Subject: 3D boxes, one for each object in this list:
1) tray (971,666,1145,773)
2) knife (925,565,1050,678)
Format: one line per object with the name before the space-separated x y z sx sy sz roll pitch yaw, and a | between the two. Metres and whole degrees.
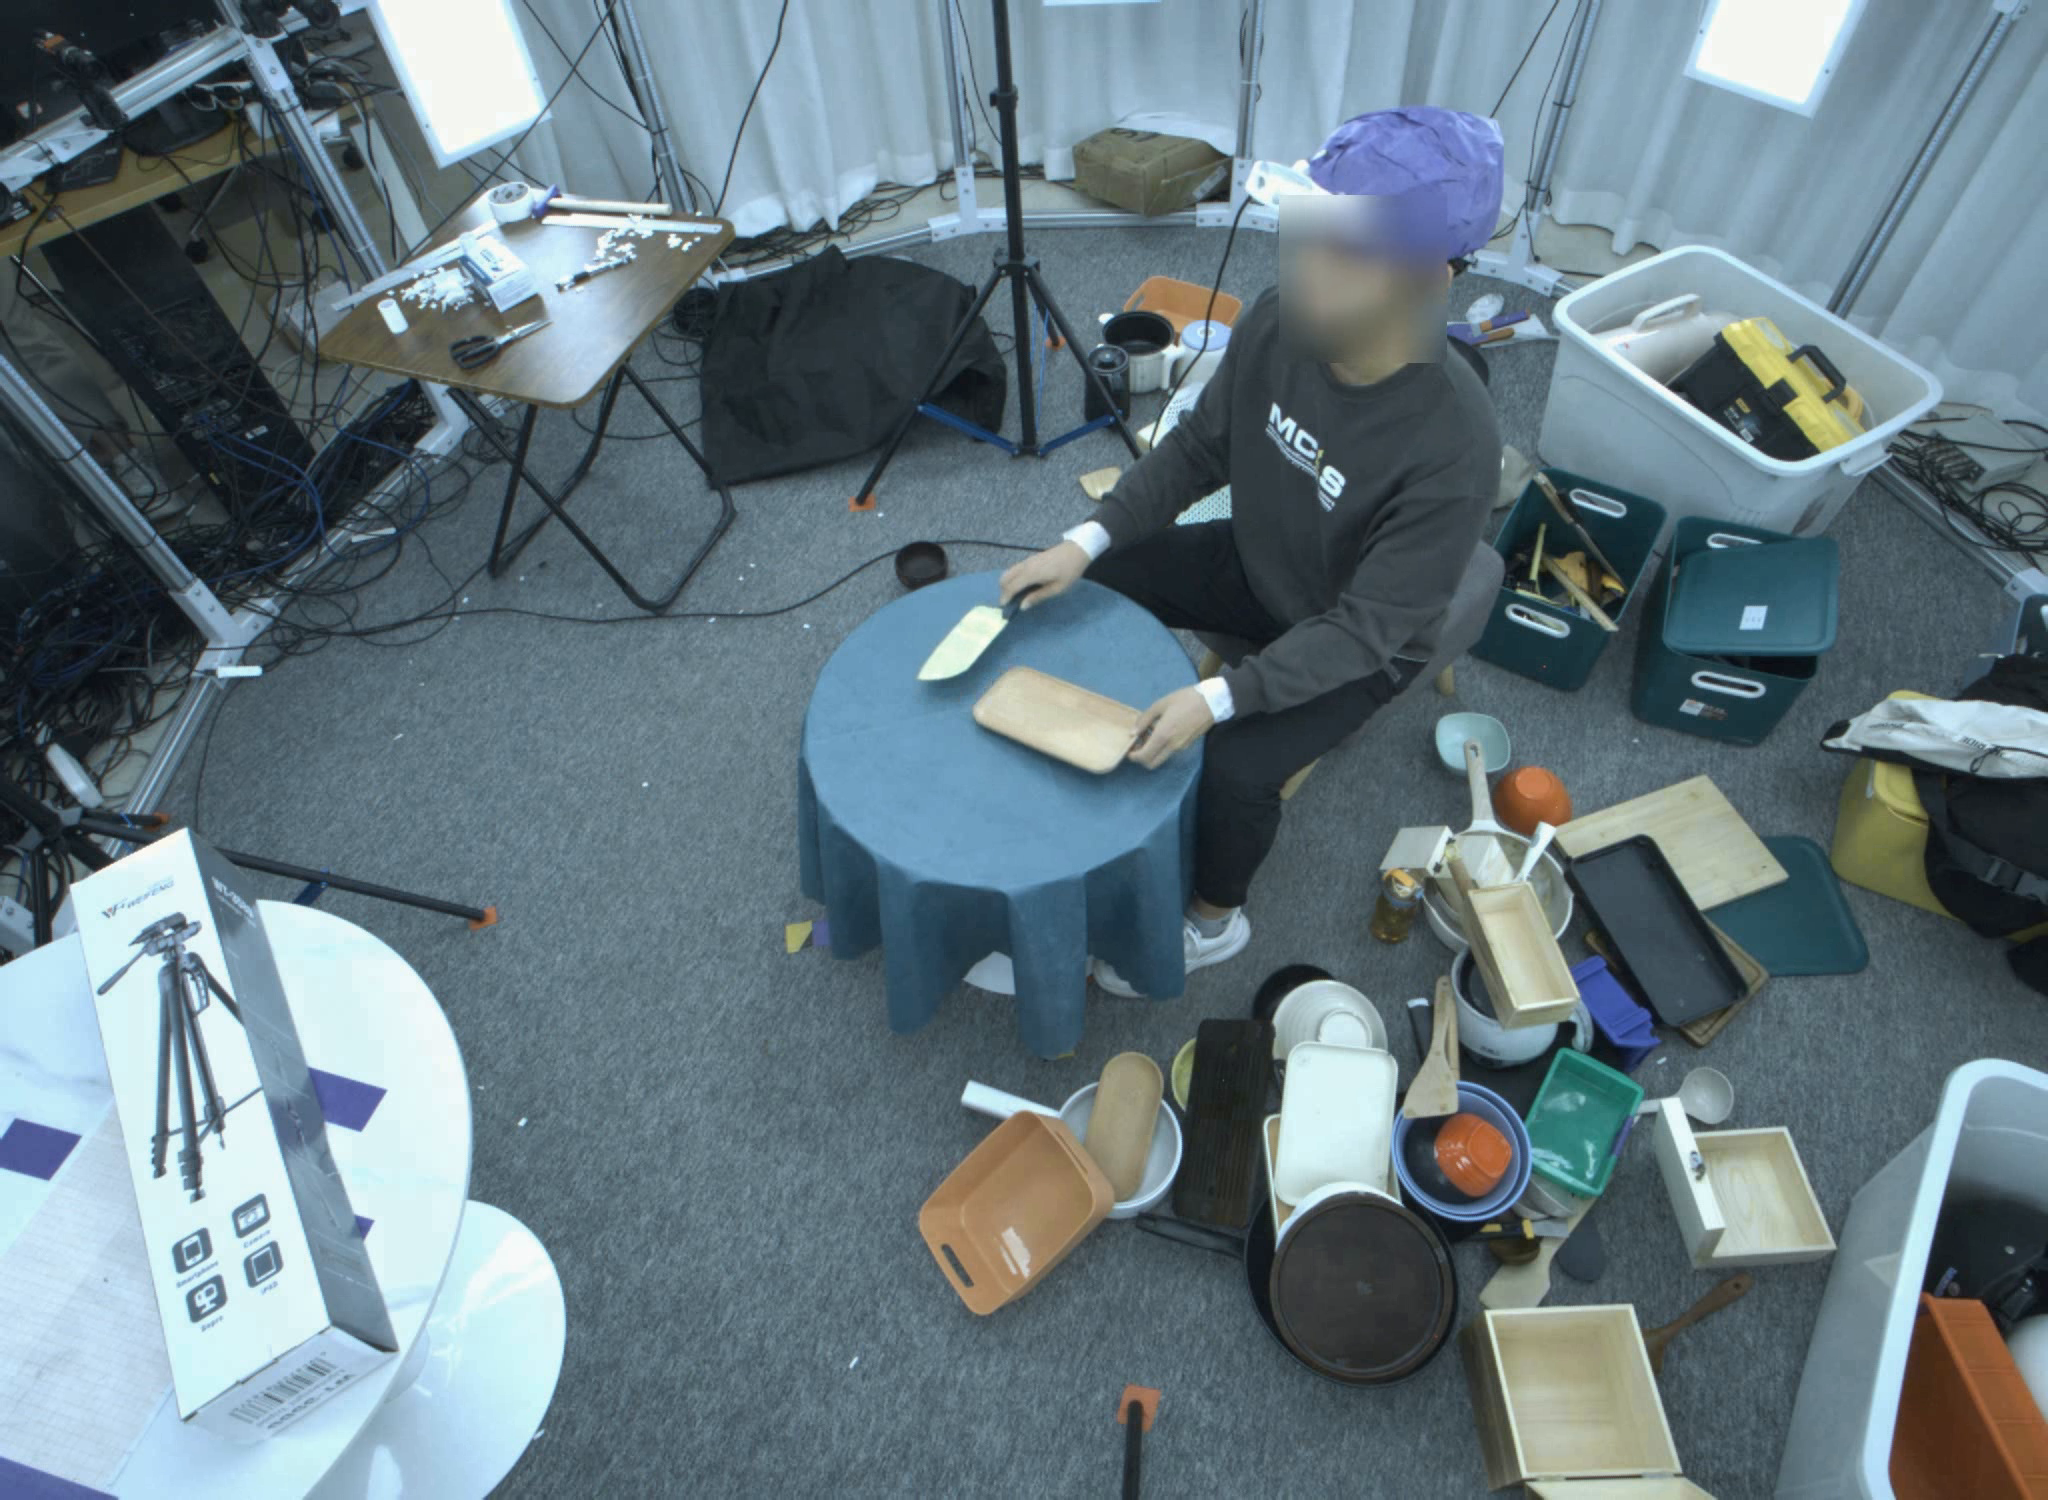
tray | 0.048 -0.046 1.794 0.246 0.023 0.131 23 53 28
knife | -0.056 -0.201 1.898 0.079 0.027 0.291 24 55 28
